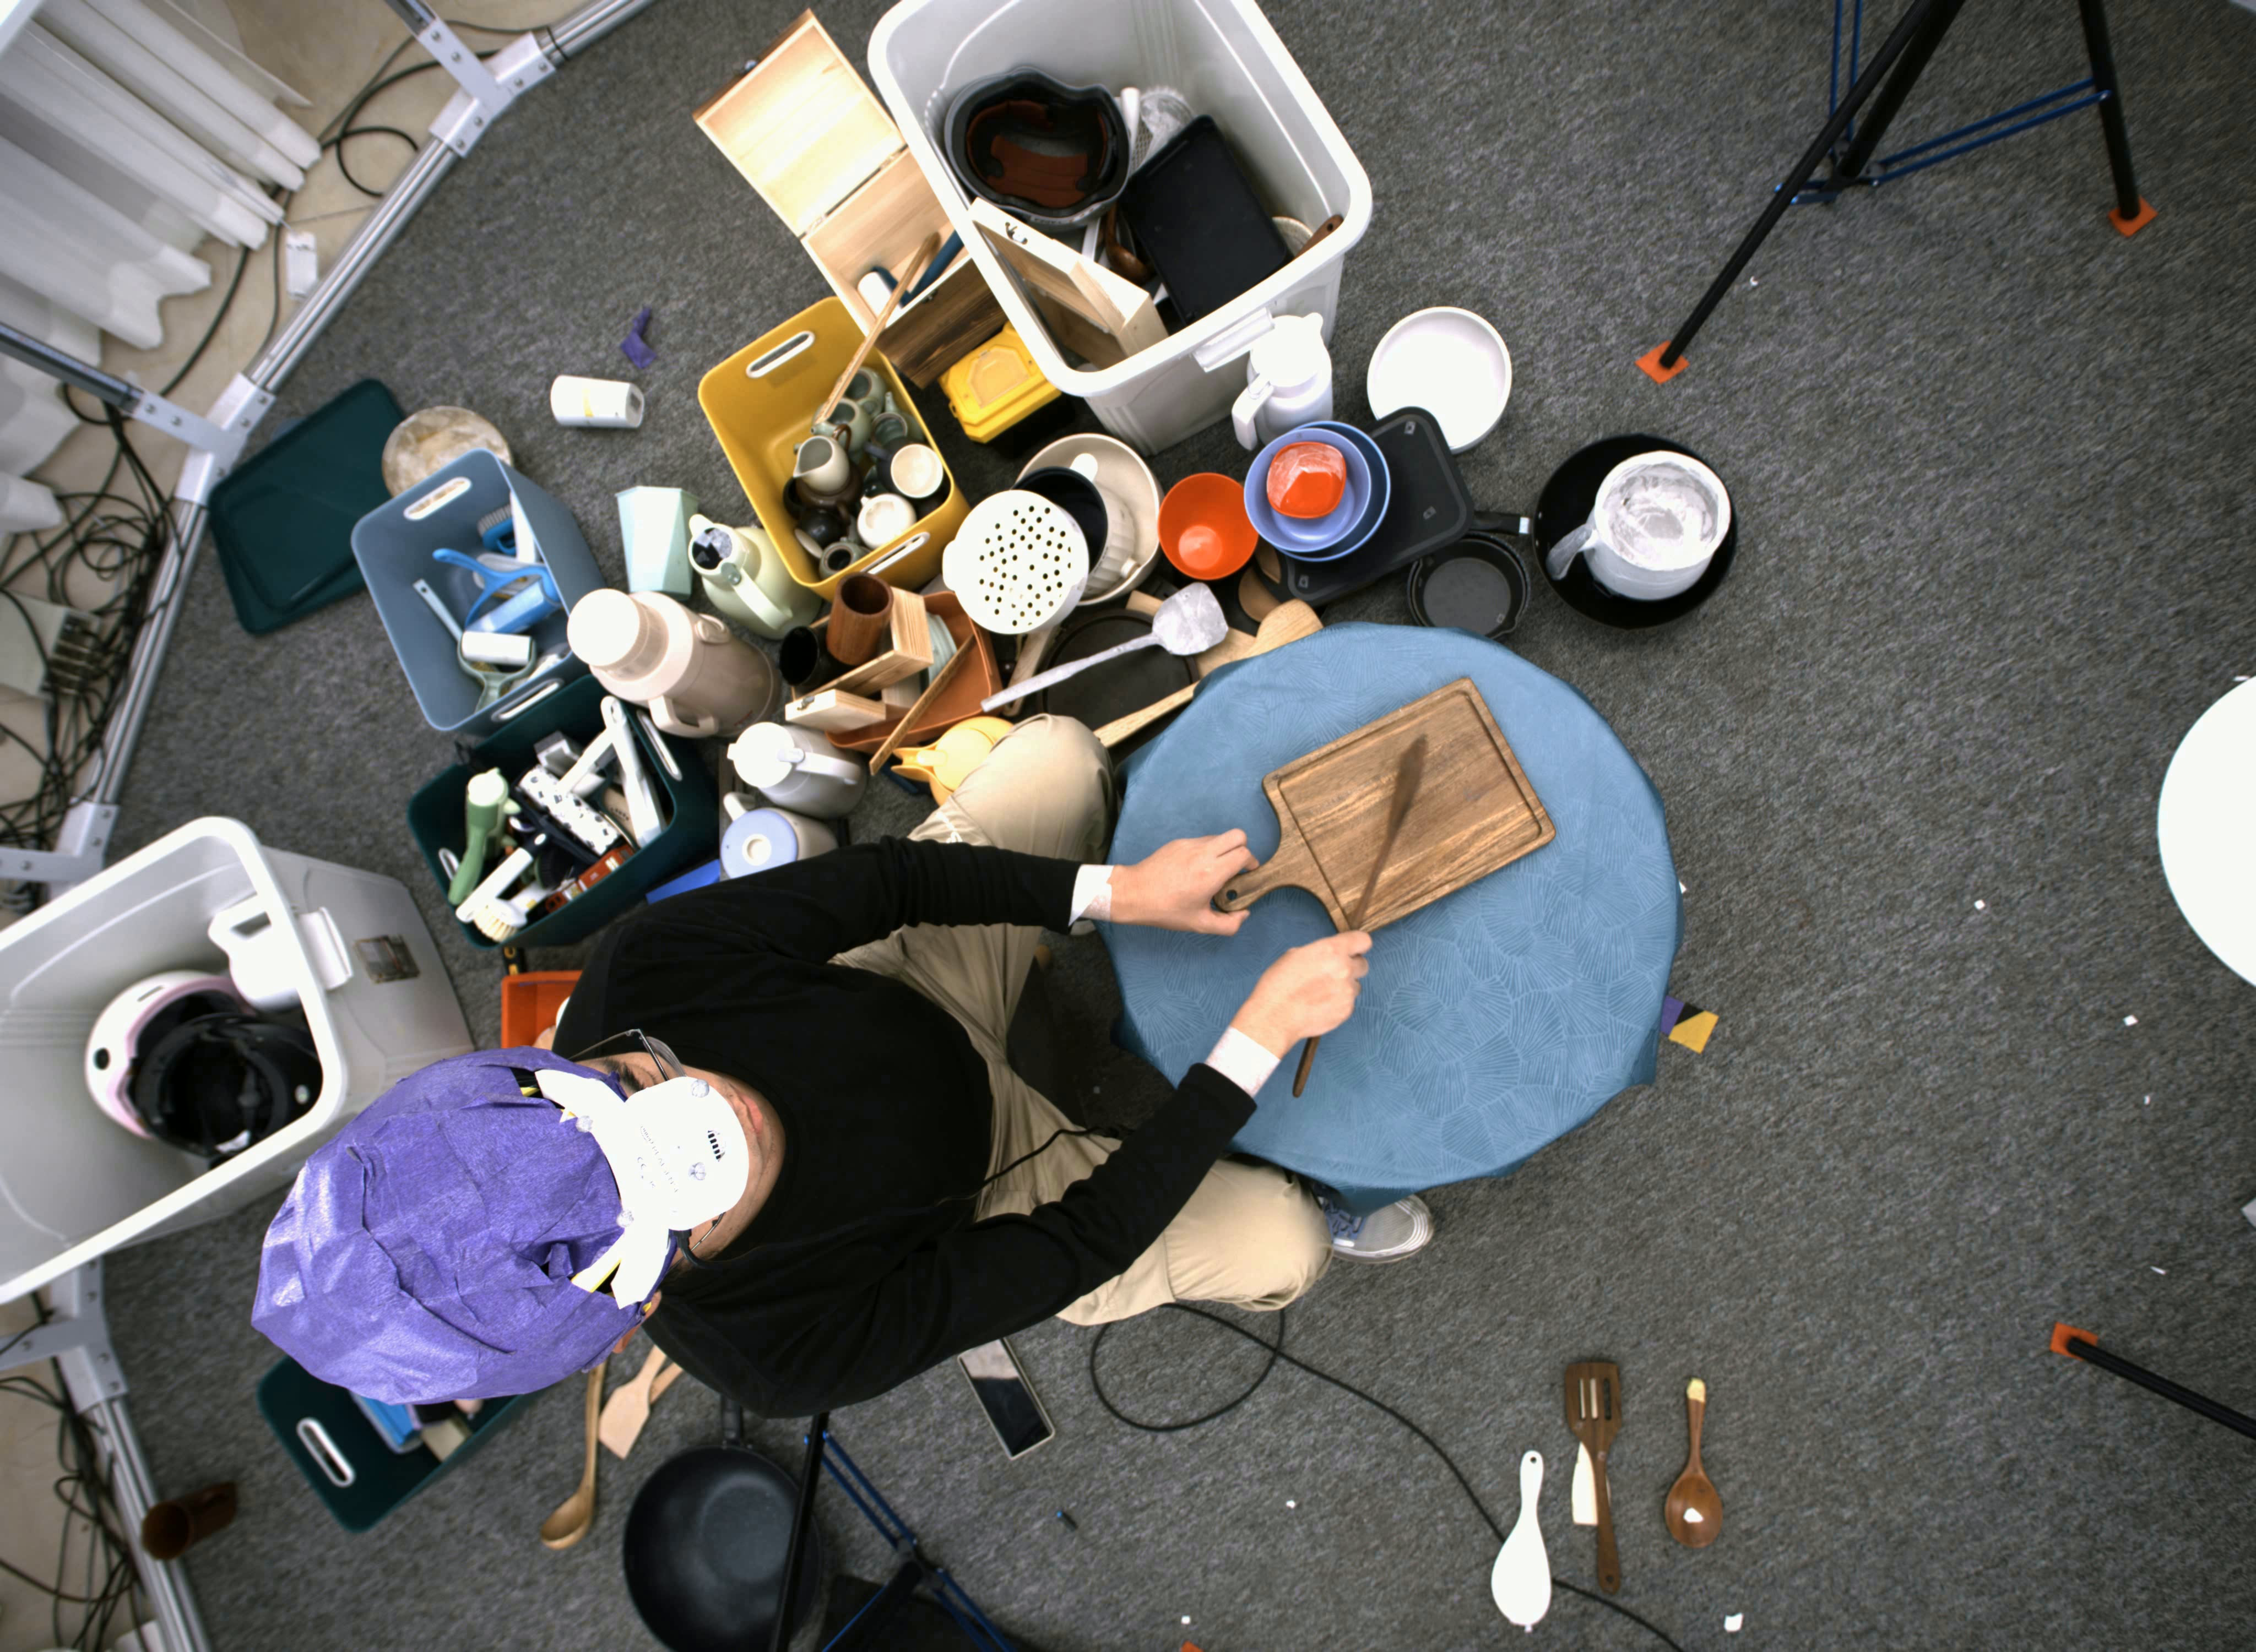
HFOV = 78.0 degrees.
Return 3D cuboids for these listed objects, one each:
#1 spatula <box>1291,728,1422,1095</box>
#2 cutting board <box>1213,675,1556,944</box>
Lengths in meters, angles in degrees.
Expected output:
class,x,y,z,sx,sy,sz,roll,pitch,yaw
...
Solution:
class,x,y,z,sx,sy,sz,roll,pitch,yaw
spatula,0.226,0.081,1.366,0.016,0.097,0.382,21,82,4
cutting board,0.246,0.002,1.436,0.352,0.023,0.200,-27,82,1
